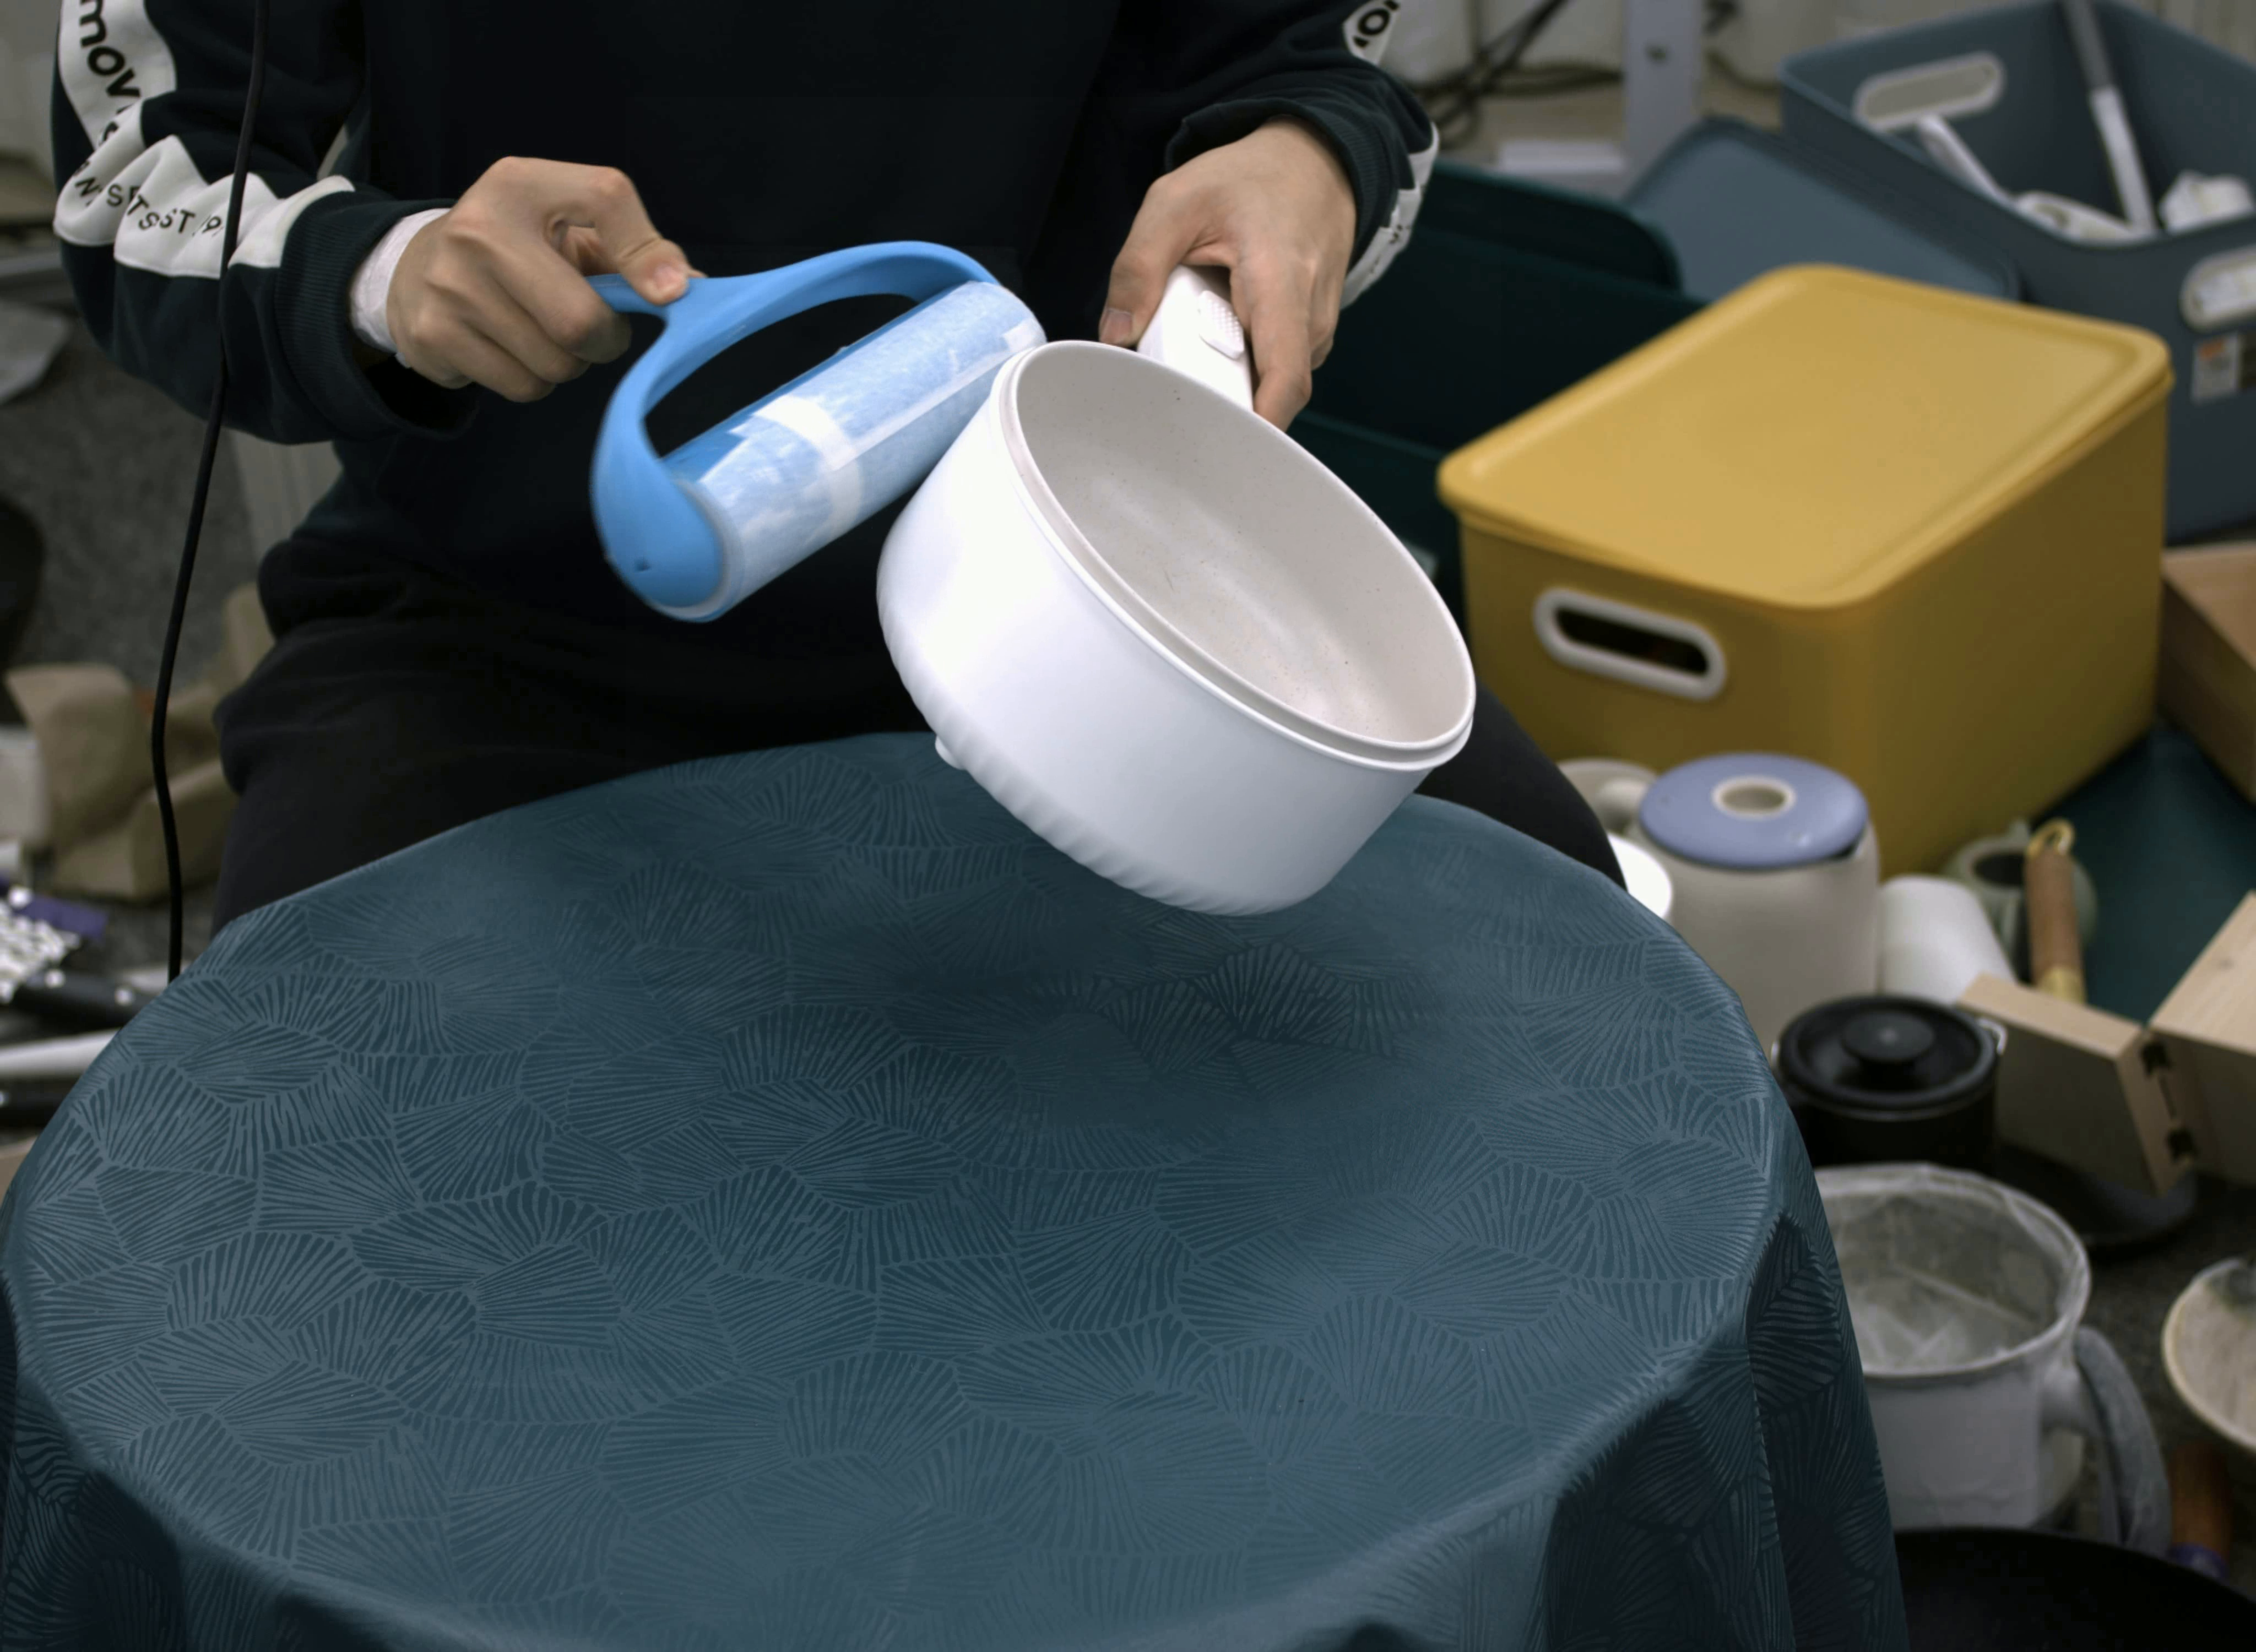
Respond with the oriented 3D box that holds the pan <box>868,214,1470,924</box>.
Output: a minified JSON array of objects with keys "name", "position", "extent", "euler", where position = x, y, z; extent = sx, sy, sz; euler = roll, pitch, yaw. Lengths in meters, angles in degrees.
[{"name":"pan","position":[0.004,-0.098,1.979],"extent":[0.200,0.101,0.360],"euler":[28,25,-19]}]

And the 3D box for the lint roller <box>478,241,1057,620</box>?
[{"name":"lint roller","position":[-0.145,-0.154,1.933],"extent":[0.180,0.067,0.233],"euler":[24,35,17]}]
